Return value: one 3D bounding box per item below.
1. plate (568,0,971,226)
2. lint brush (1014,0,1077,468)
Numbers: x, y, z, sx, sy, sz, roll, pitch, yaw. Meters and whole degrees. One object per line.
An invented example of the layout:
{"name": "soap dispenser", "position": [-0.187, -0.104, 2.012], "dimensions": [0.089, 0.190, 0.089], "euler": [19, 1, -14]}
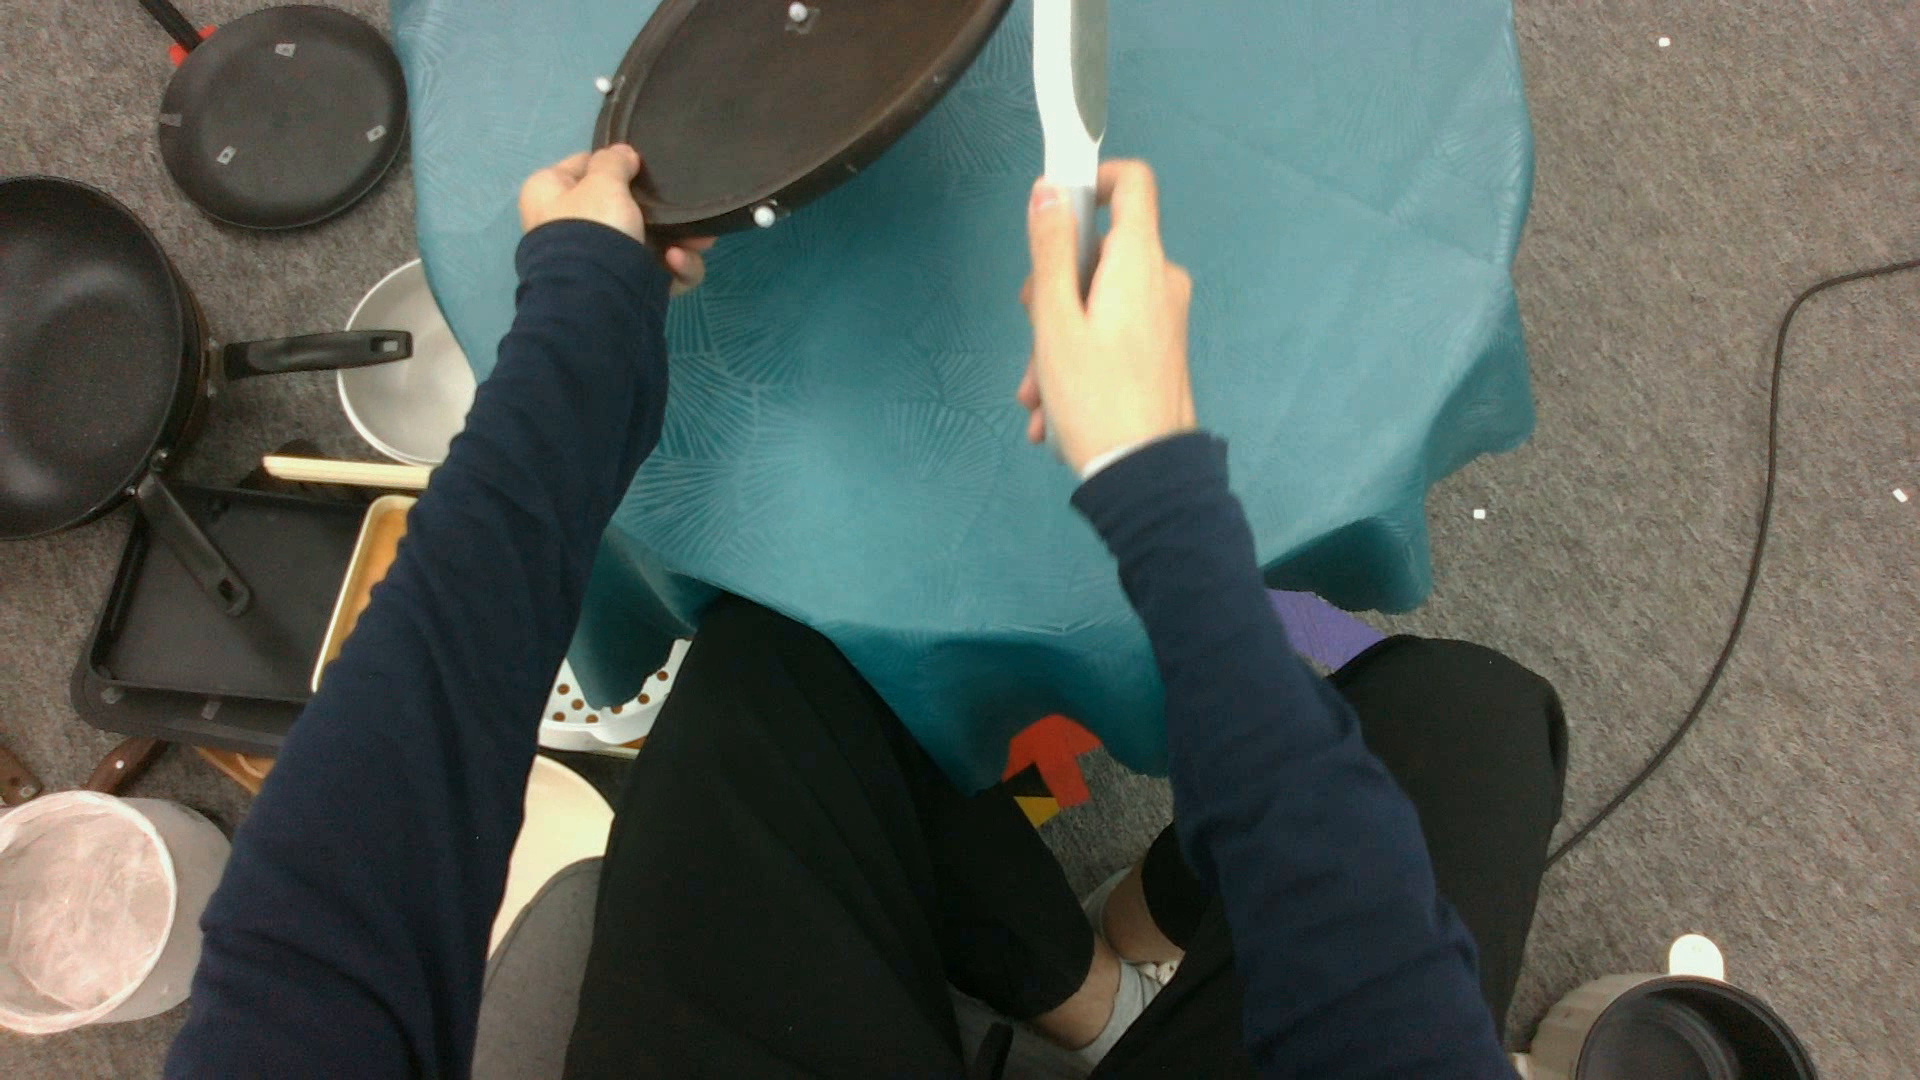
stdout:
{"name": "plate", "position": [-0.083, -0.248, 0.641], "dimensions": [0.254, 0.029, 0.256], "euler": [-21, 49, 27]}
{"name": "lint brush", "position": [0.036, -0.184, 0.577], "dimensions": [0.021, 0.060, 0.309], "euler": [-1, 85, 15]}
